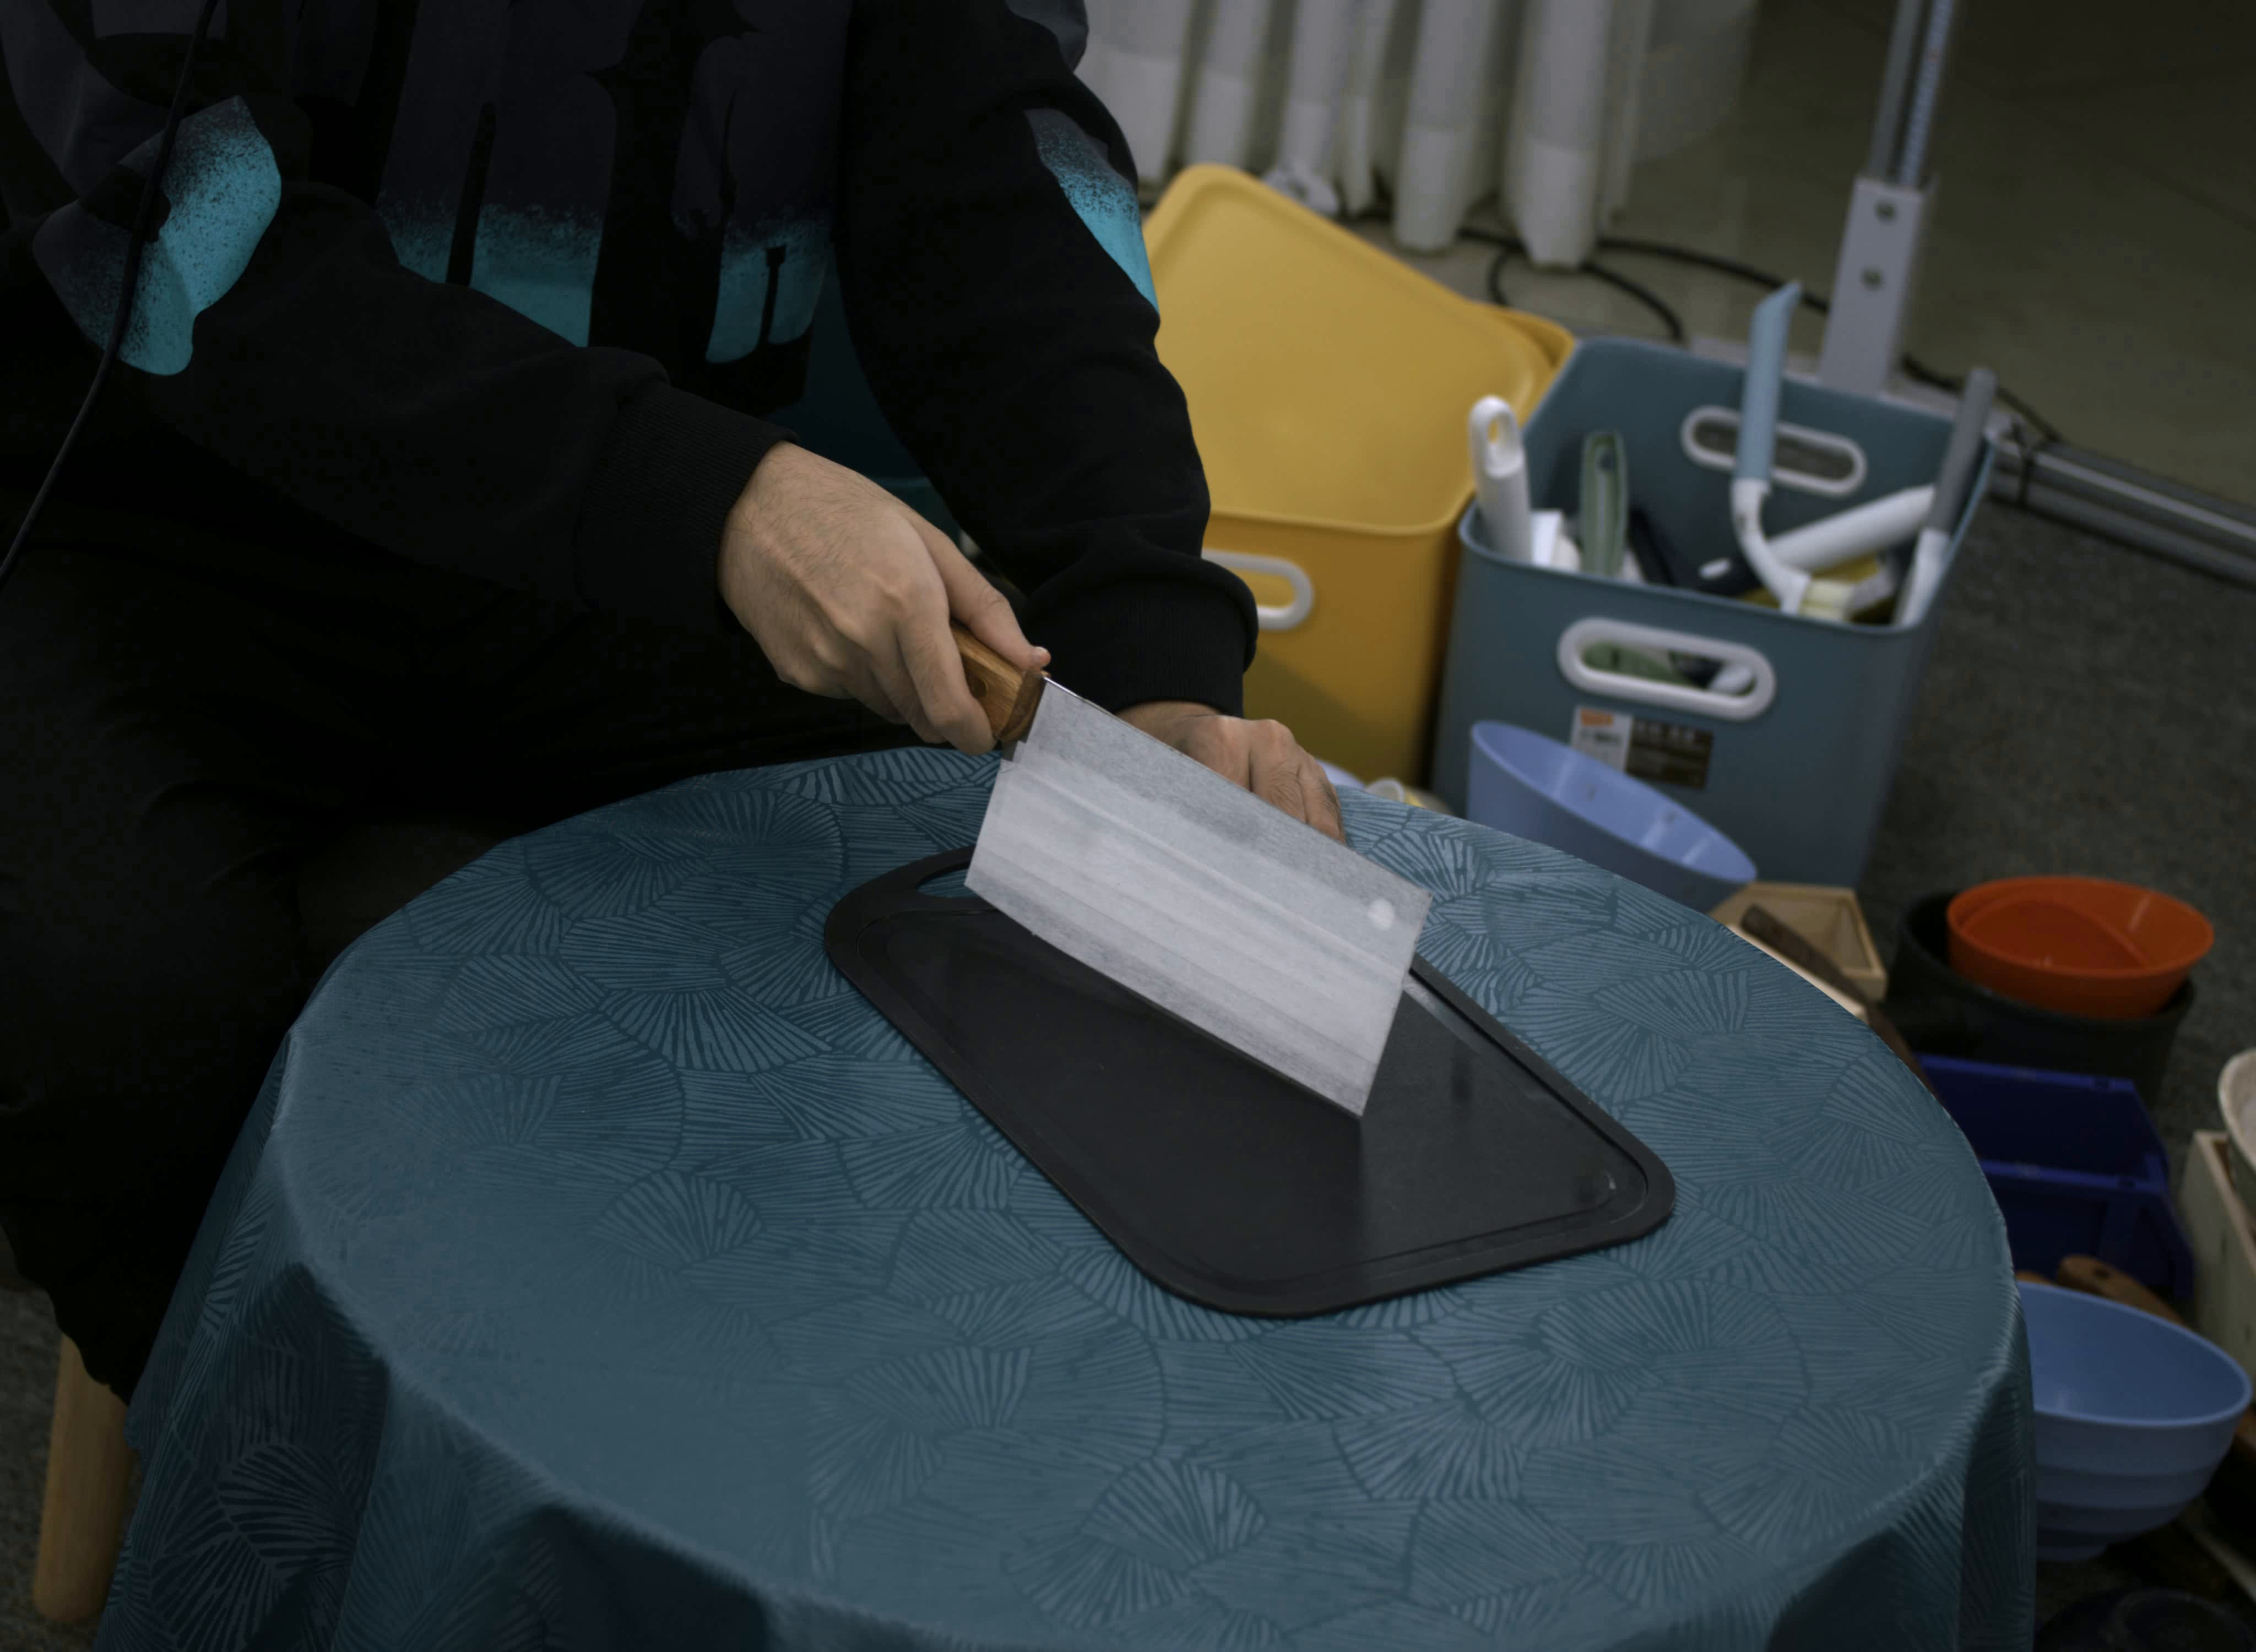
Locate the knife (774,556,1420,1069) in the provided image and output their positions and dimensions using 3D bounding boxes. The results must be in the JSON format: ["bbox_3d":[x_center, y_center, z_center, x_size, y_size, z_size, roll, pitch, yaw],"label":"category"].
[{"bbox_3d":[-0.021,-0.003,1.920,0.308,0.093,0.021,30,25,32],"label":"knife"}]

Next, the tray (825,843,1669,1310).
[{"bbox_3d":[0.033,0.077,1.894,0.210,0.010,0.328,-10,31,-29],"label":"tray"}]
